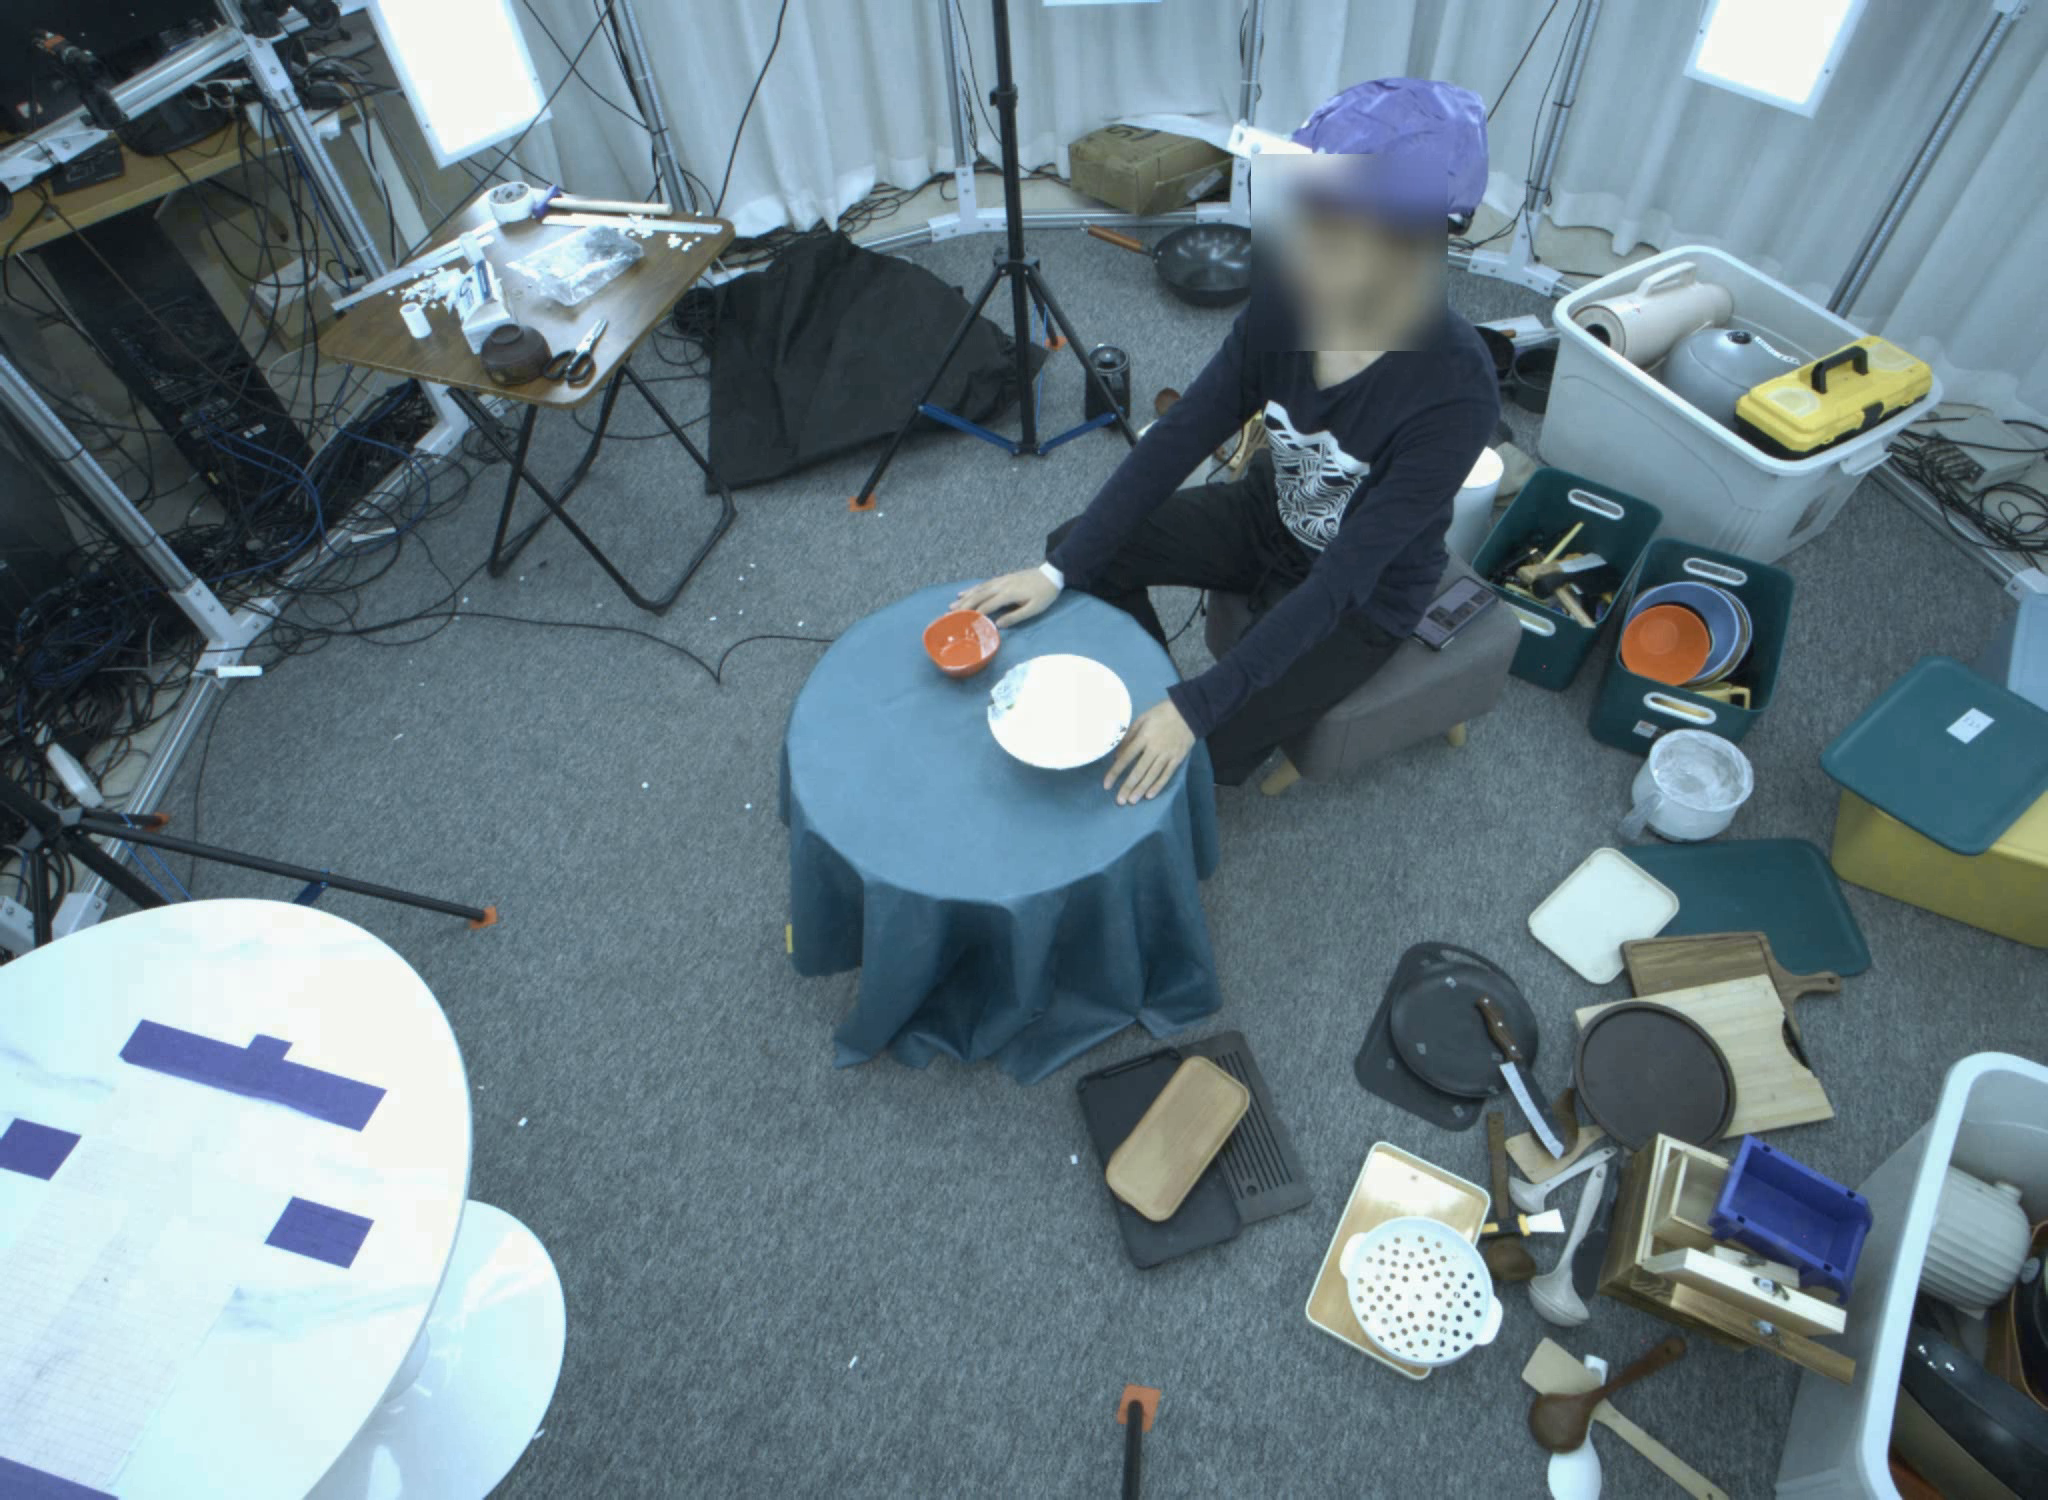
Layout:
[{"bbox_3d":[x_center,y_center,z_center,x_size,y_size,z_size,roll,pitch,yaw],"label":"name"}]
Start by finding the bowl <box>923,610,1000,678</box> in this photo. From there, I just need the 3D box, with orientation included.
[{"bbox_3d":[-0.094,-0.155,1.877,0.119,0.052,0.117,-1,53,2],"label":"bowl"}]

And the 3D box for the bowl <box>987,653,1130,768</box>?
[{"bbox_3d":[0.050,-0.038,1.774,0.204,0.079,0.202,0,55,1],"label":"bowl"}]
